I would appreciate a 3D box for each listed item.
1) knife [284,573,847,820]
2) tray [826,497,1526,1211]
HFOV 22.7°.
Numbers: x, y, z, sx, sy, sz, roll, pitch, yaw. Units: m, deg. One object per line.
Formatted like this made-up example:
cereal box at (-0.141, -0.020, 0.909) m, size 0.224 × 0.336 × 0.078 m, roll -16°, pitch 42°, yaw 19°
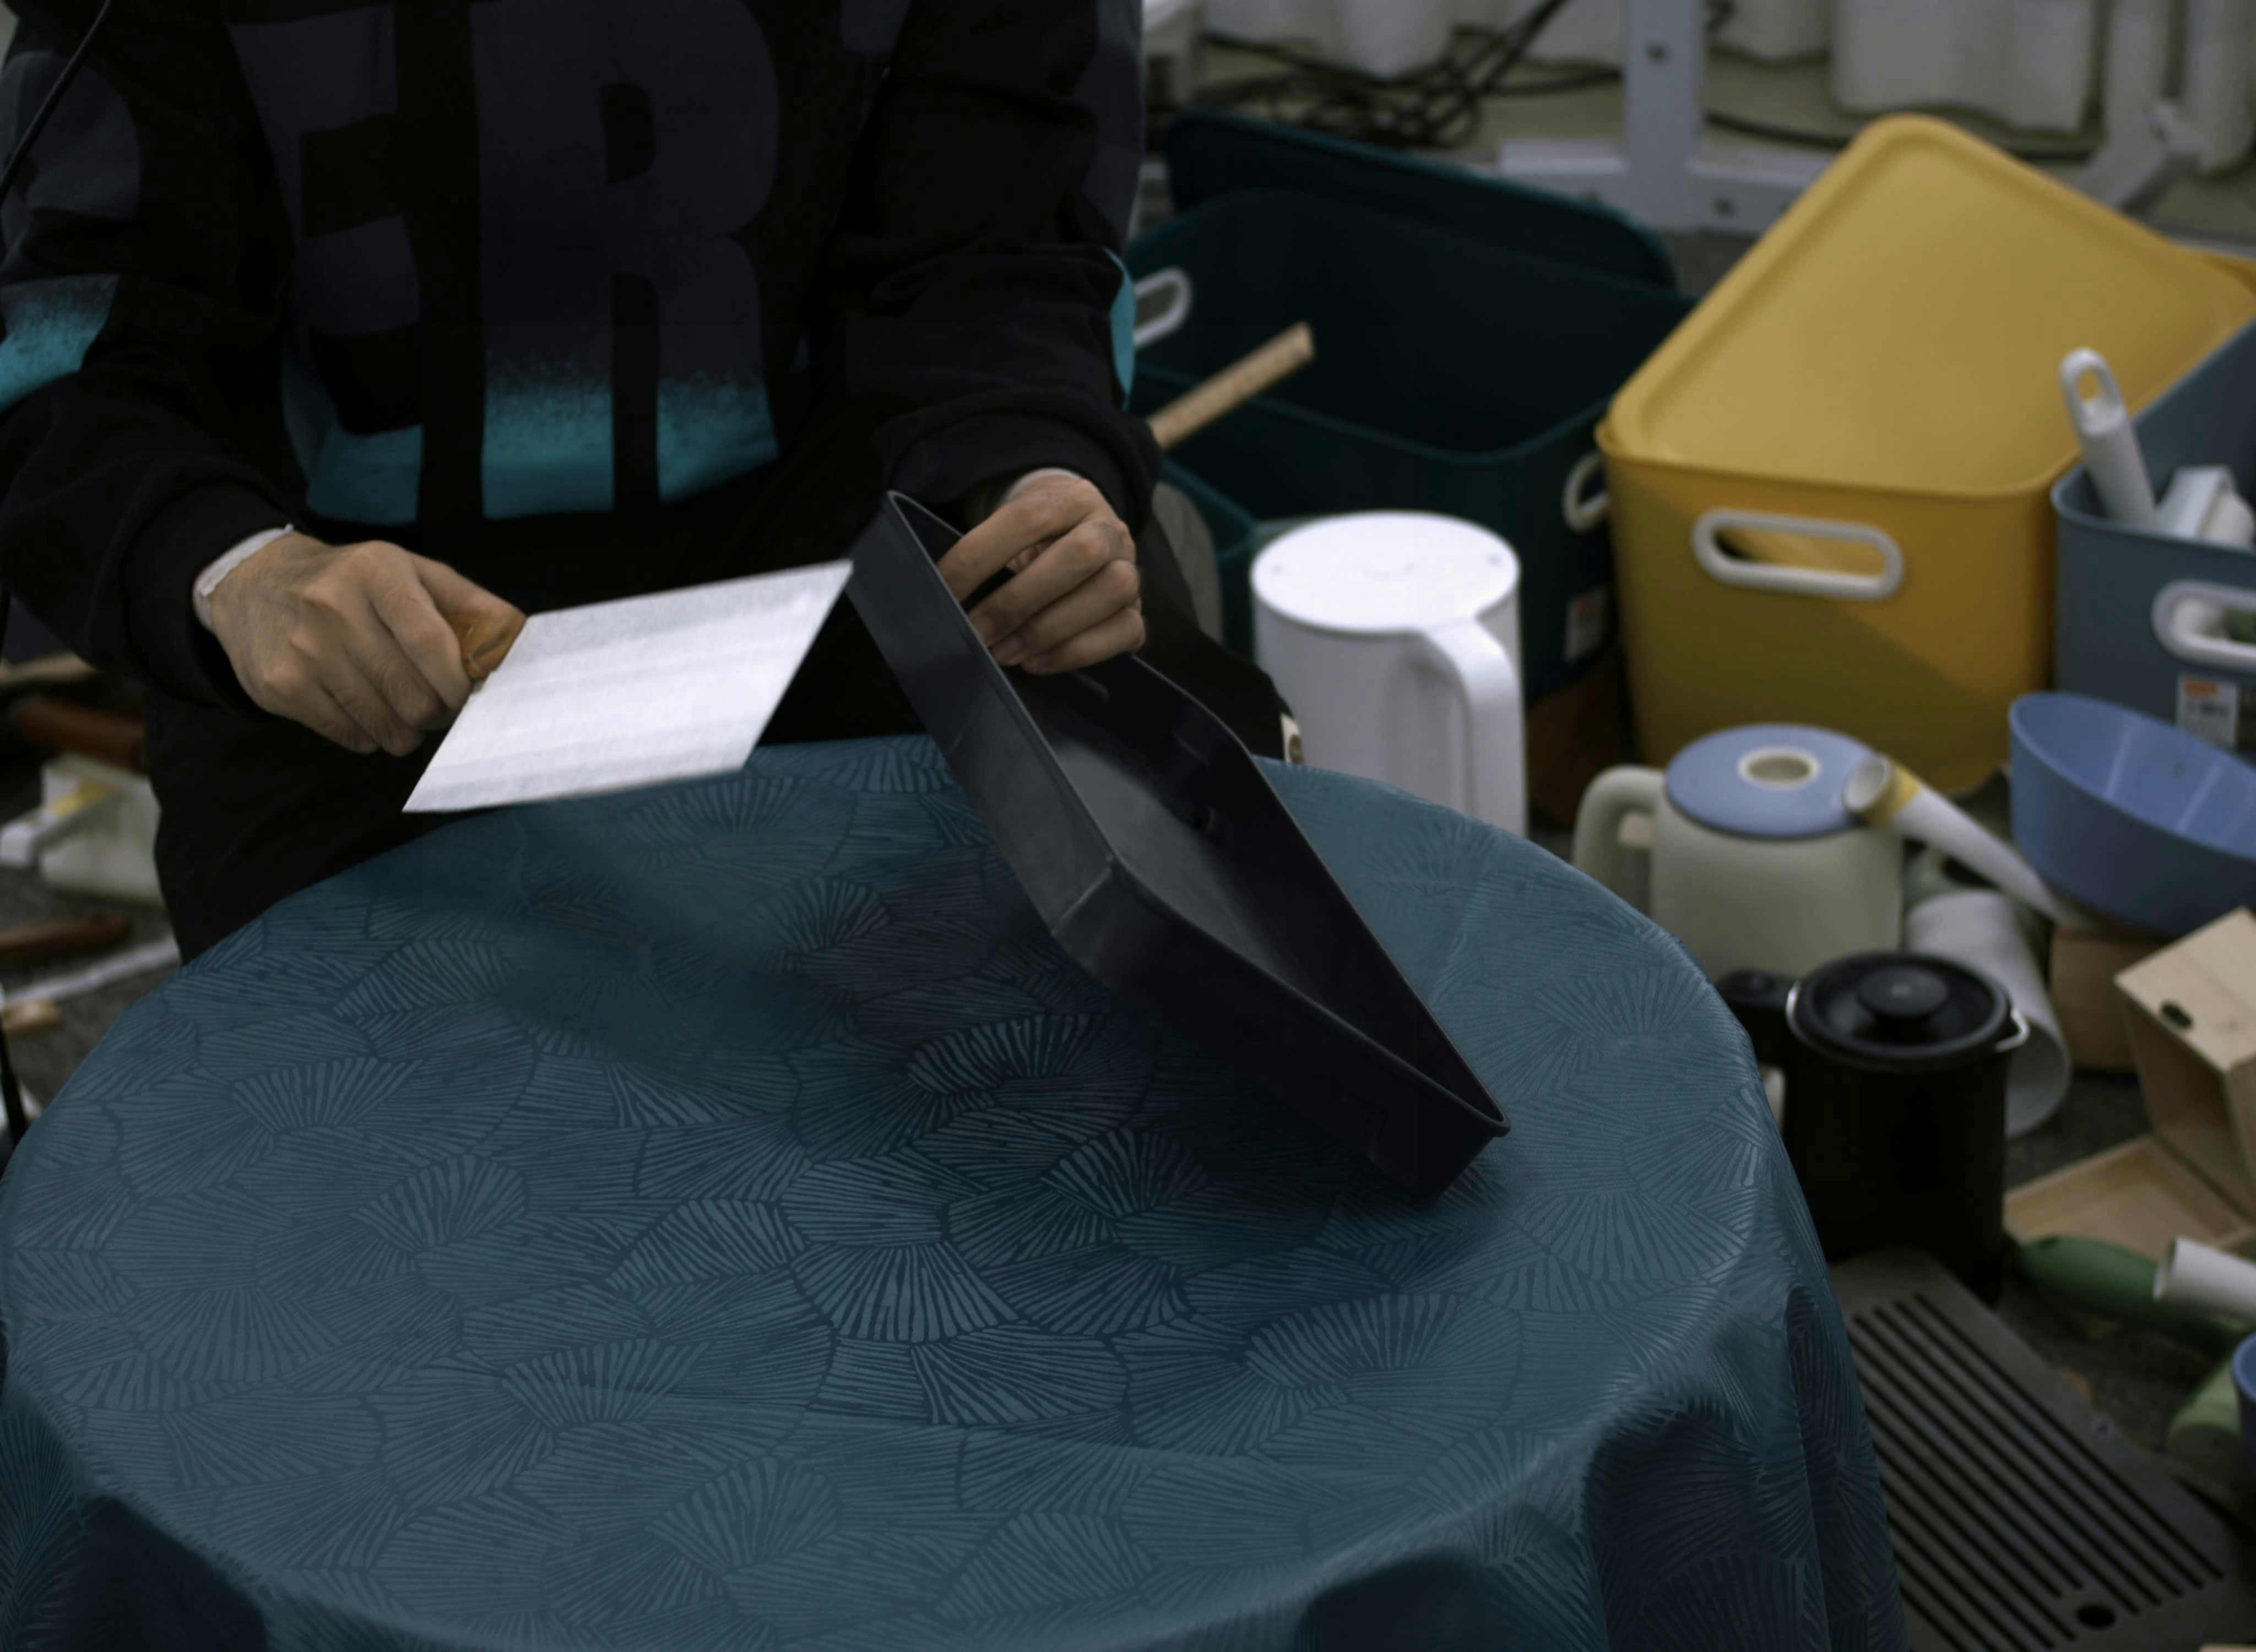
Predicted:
knife at (-0.214, -0.041, 1.990) m, size 0.302 × 0.021 × 0.094 m, roll -6°, pitch 47°, yaw 46°
tray at (0.011, 0.005, 1.919) m, size 0.183 × 0.037 × 0.321 m, roll 33°, pitch 12°, yaw -32°
